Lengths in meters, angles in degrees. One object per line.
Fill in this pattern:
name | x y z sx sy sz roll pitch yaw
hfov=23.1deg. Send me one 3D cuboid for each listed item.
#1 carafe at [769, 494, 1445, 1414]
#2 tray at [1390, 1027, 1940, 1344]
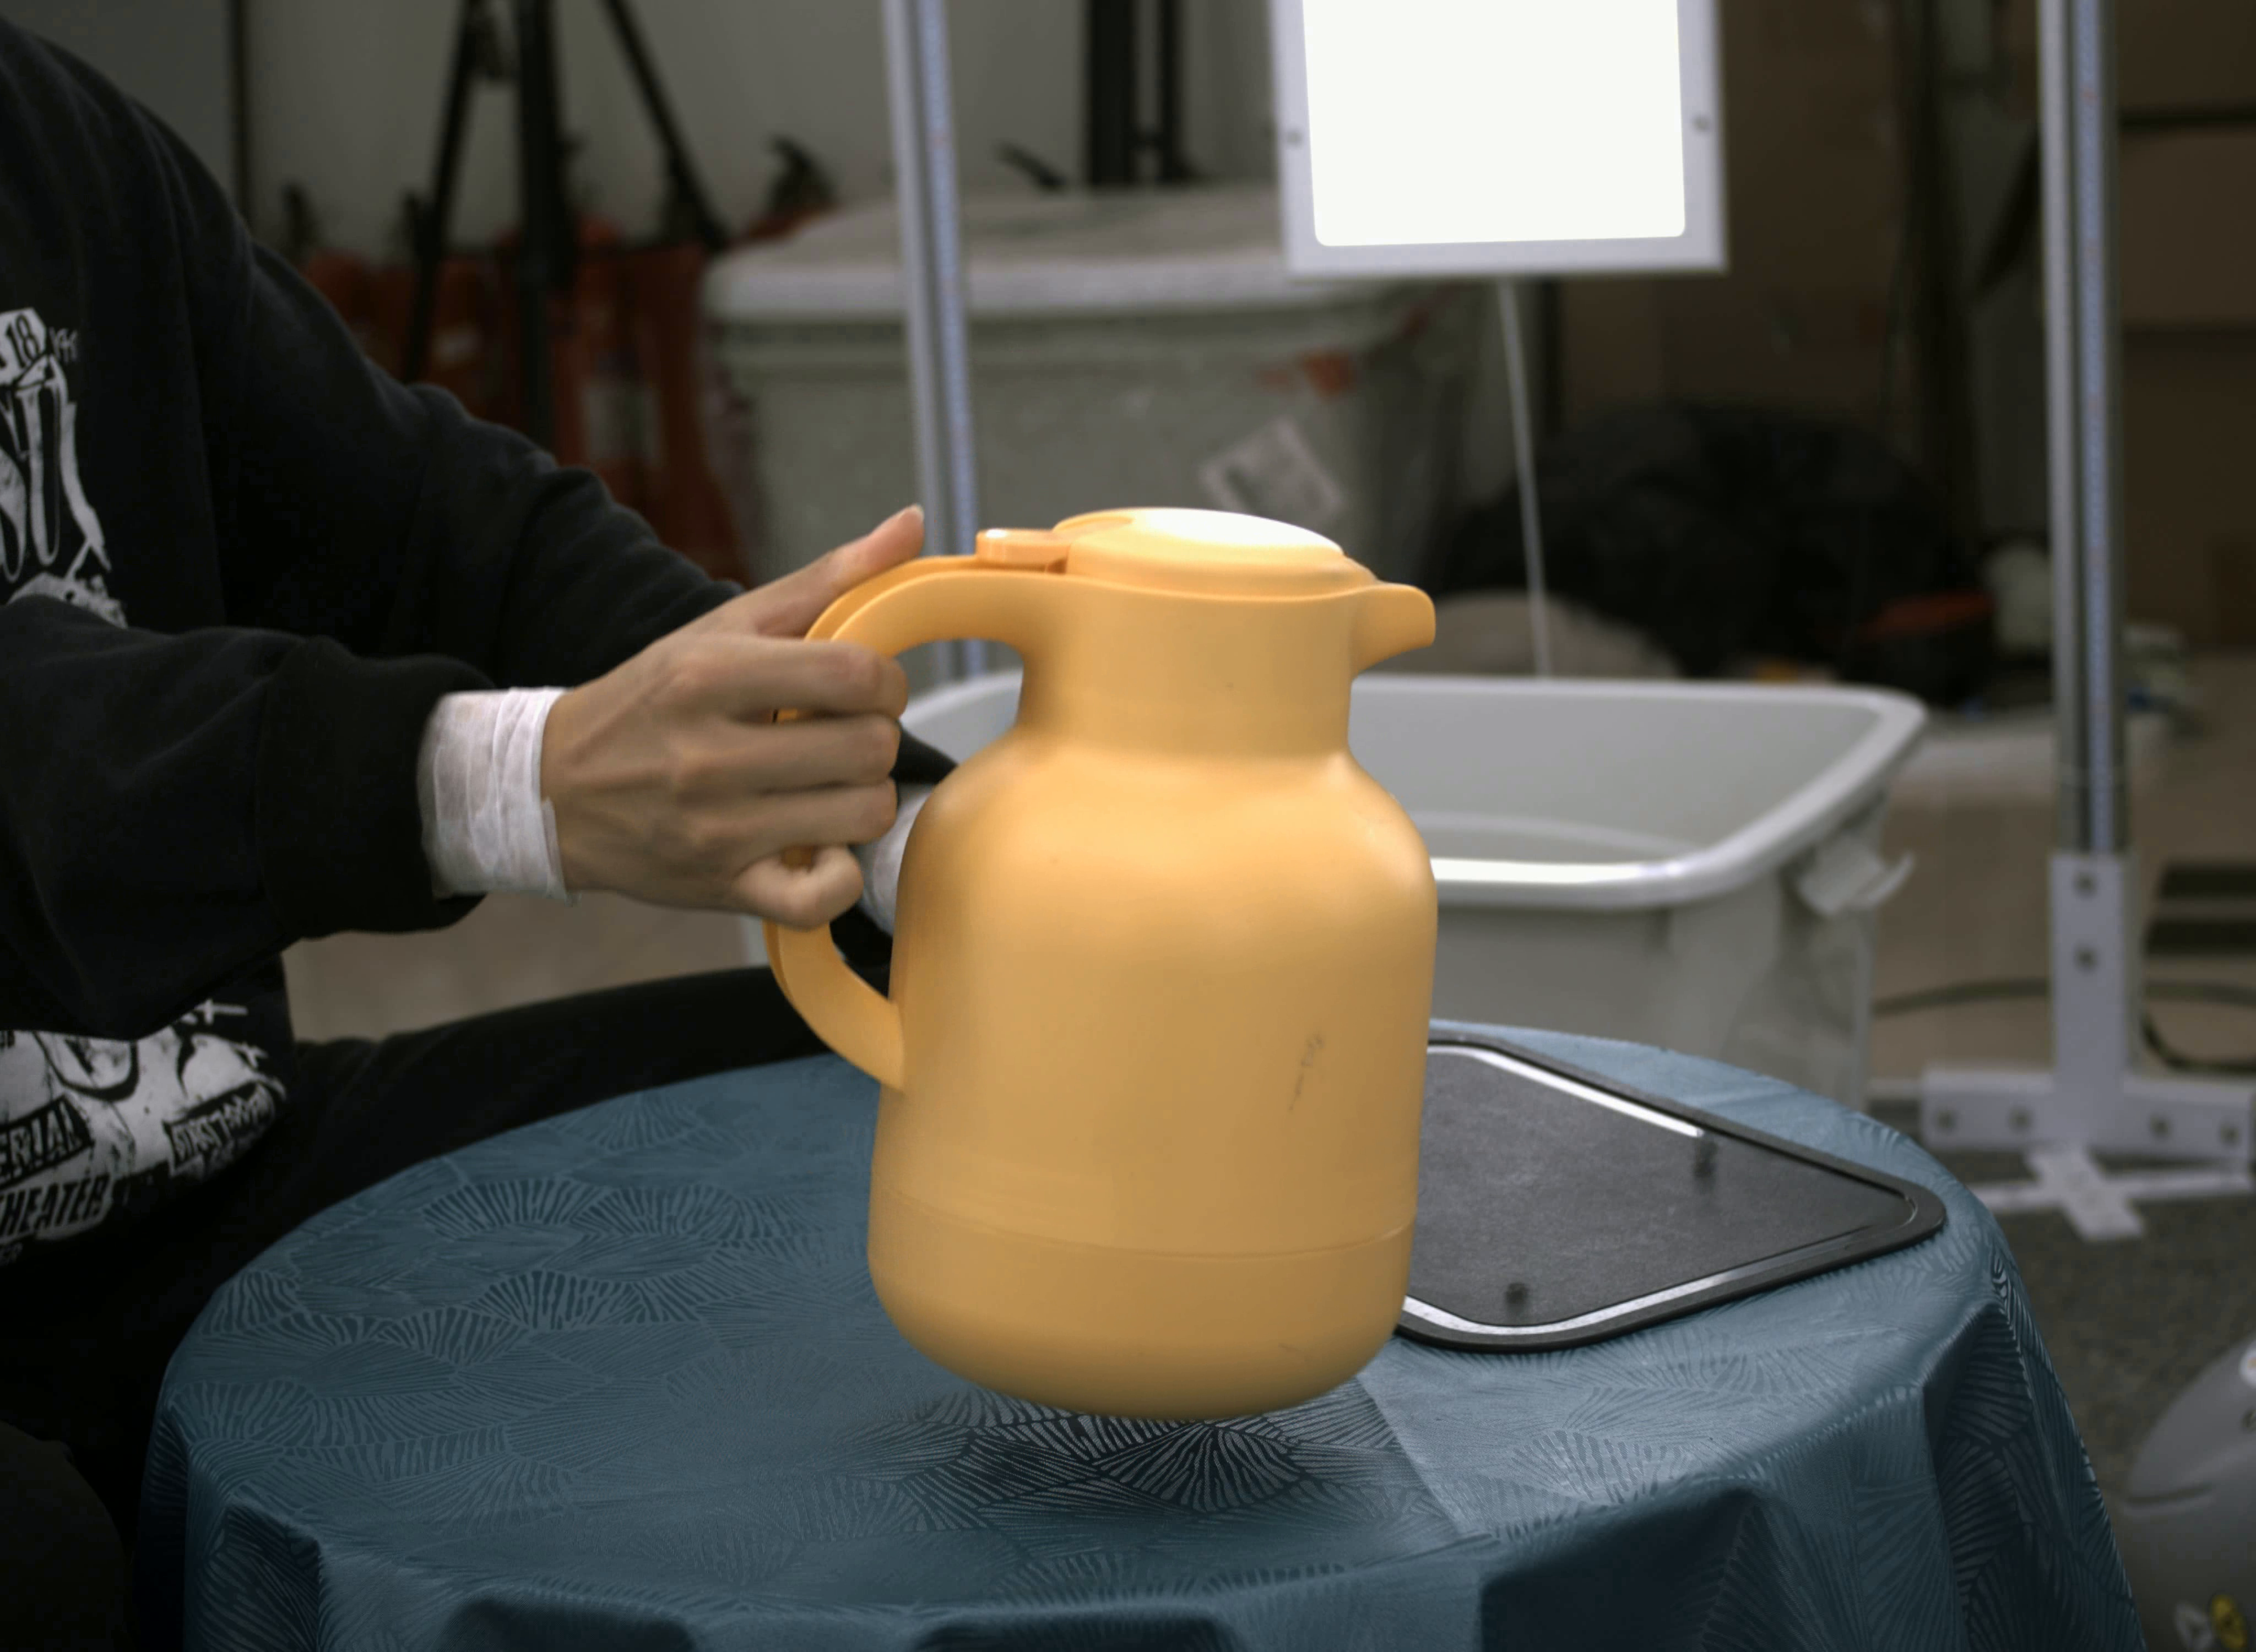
carafe | -0.008 0.033 1.622 0.200 0.262 0.165 3 9 -13
tray | 0.109 0.115 1.870 0.206 0.010 0.331 -13 18 -30
